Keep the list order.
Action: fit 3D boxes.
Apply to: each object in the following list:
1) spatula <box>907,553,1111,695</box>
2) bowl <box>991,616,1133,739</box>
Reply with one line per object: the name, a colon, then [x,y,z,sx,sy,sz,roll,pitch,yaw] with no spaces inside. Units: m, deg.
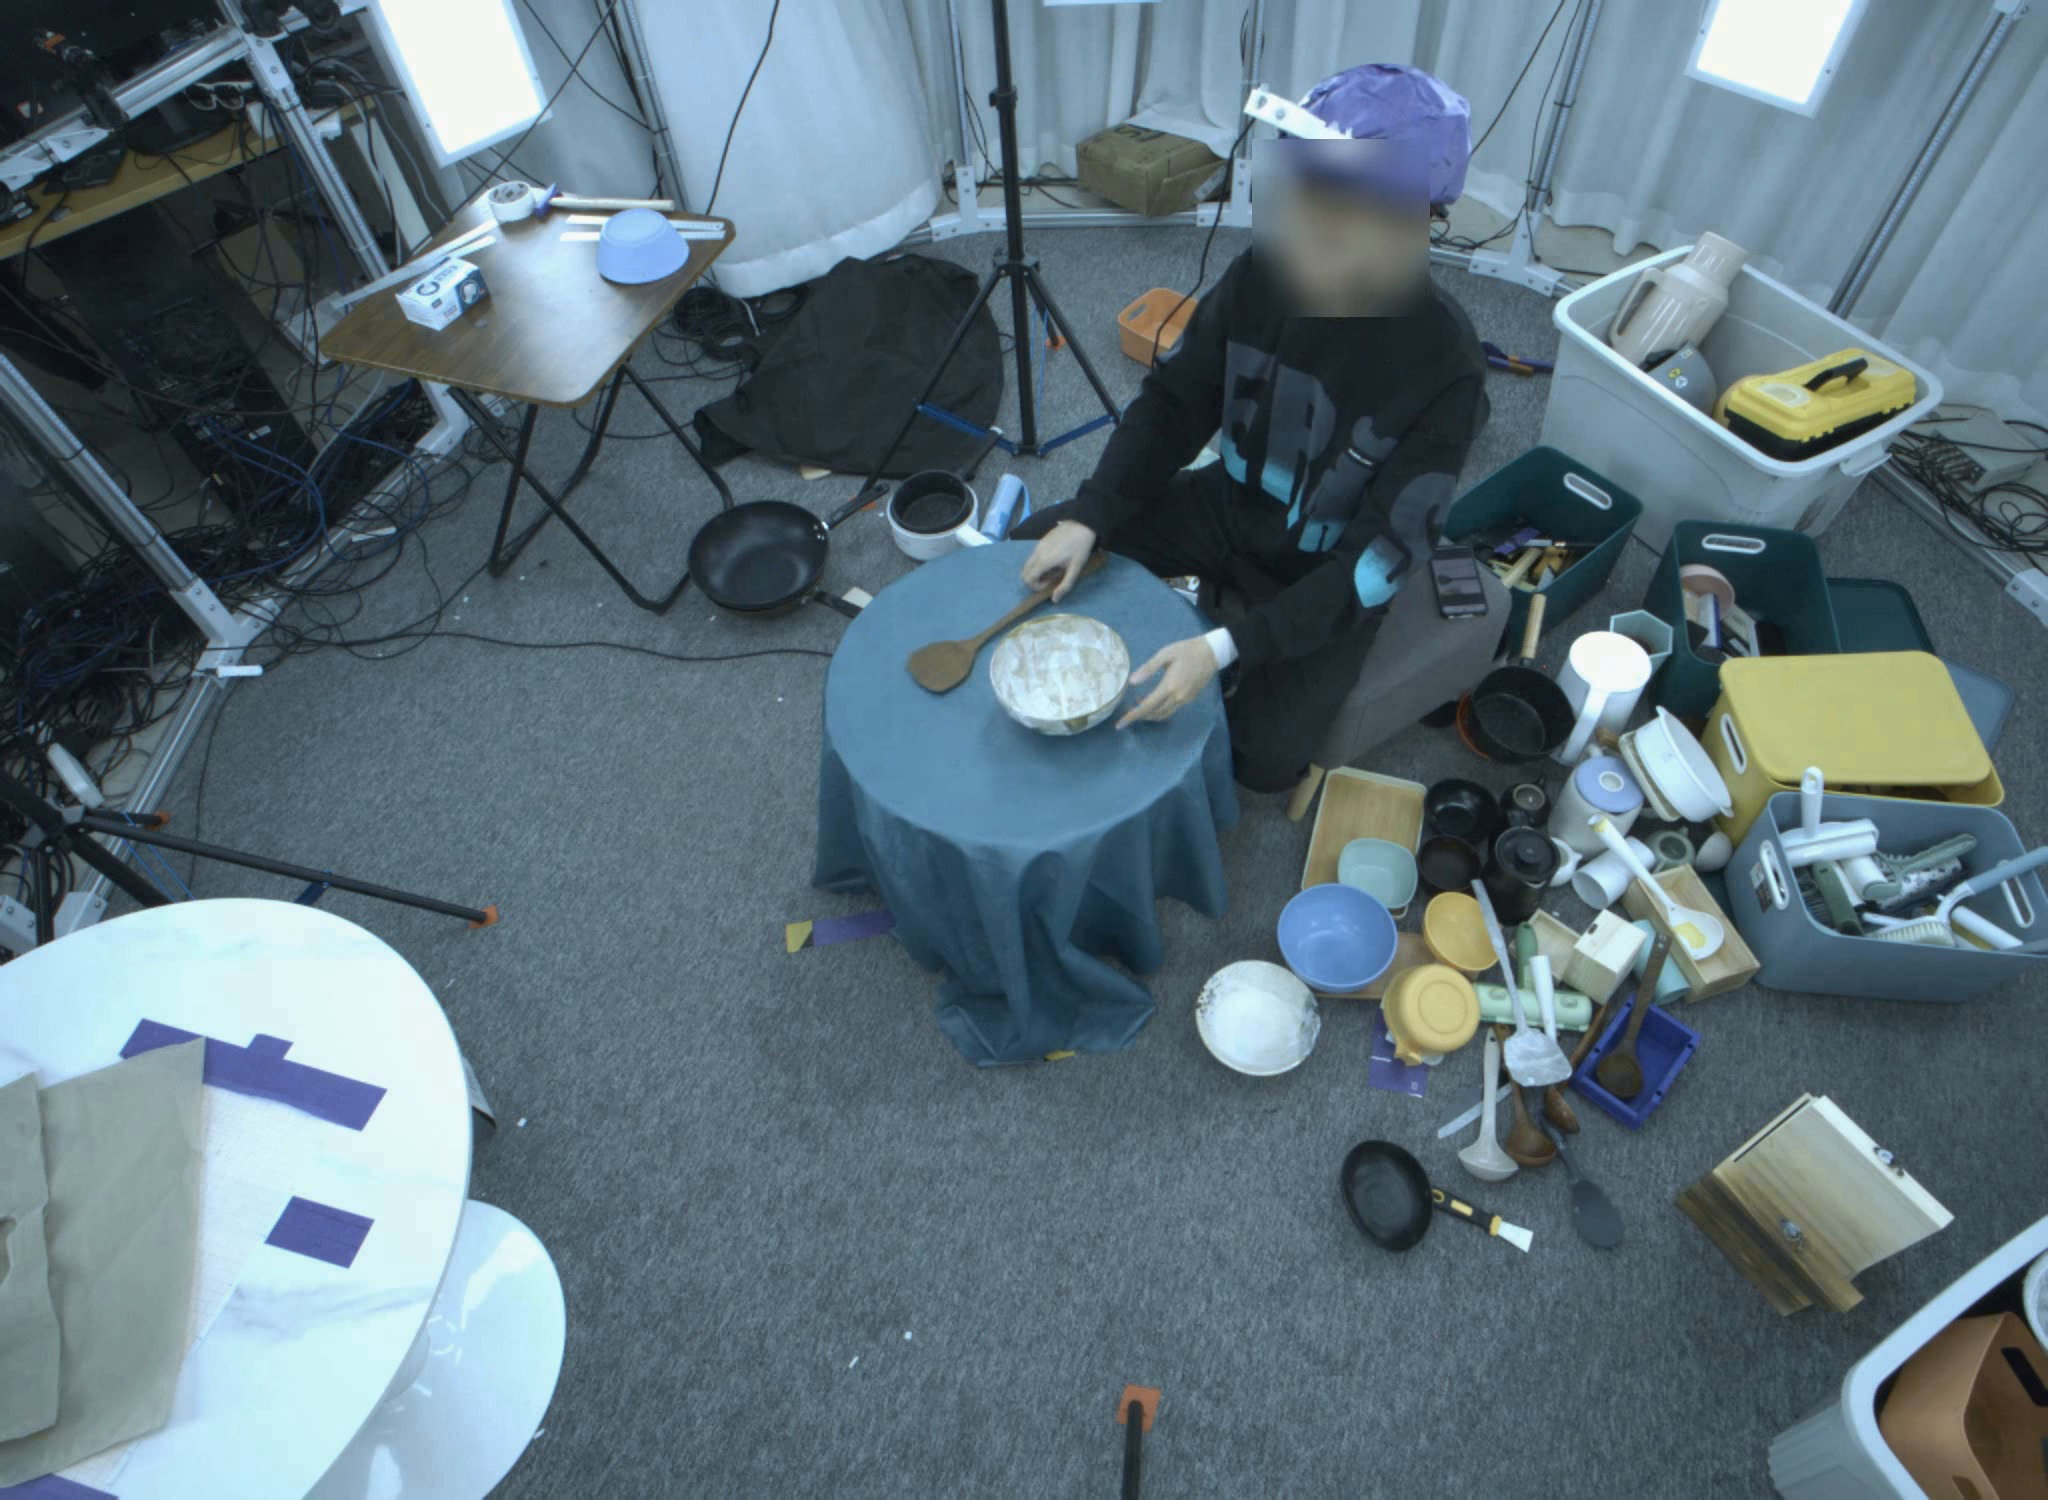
spatula: [-0.013,-0.209,1.929,0.388,0.016,0.094,-36,62,-18]
bowl: [0.060,-0.091,1.802,0.214,0.095,0.212,-1,53,2]
